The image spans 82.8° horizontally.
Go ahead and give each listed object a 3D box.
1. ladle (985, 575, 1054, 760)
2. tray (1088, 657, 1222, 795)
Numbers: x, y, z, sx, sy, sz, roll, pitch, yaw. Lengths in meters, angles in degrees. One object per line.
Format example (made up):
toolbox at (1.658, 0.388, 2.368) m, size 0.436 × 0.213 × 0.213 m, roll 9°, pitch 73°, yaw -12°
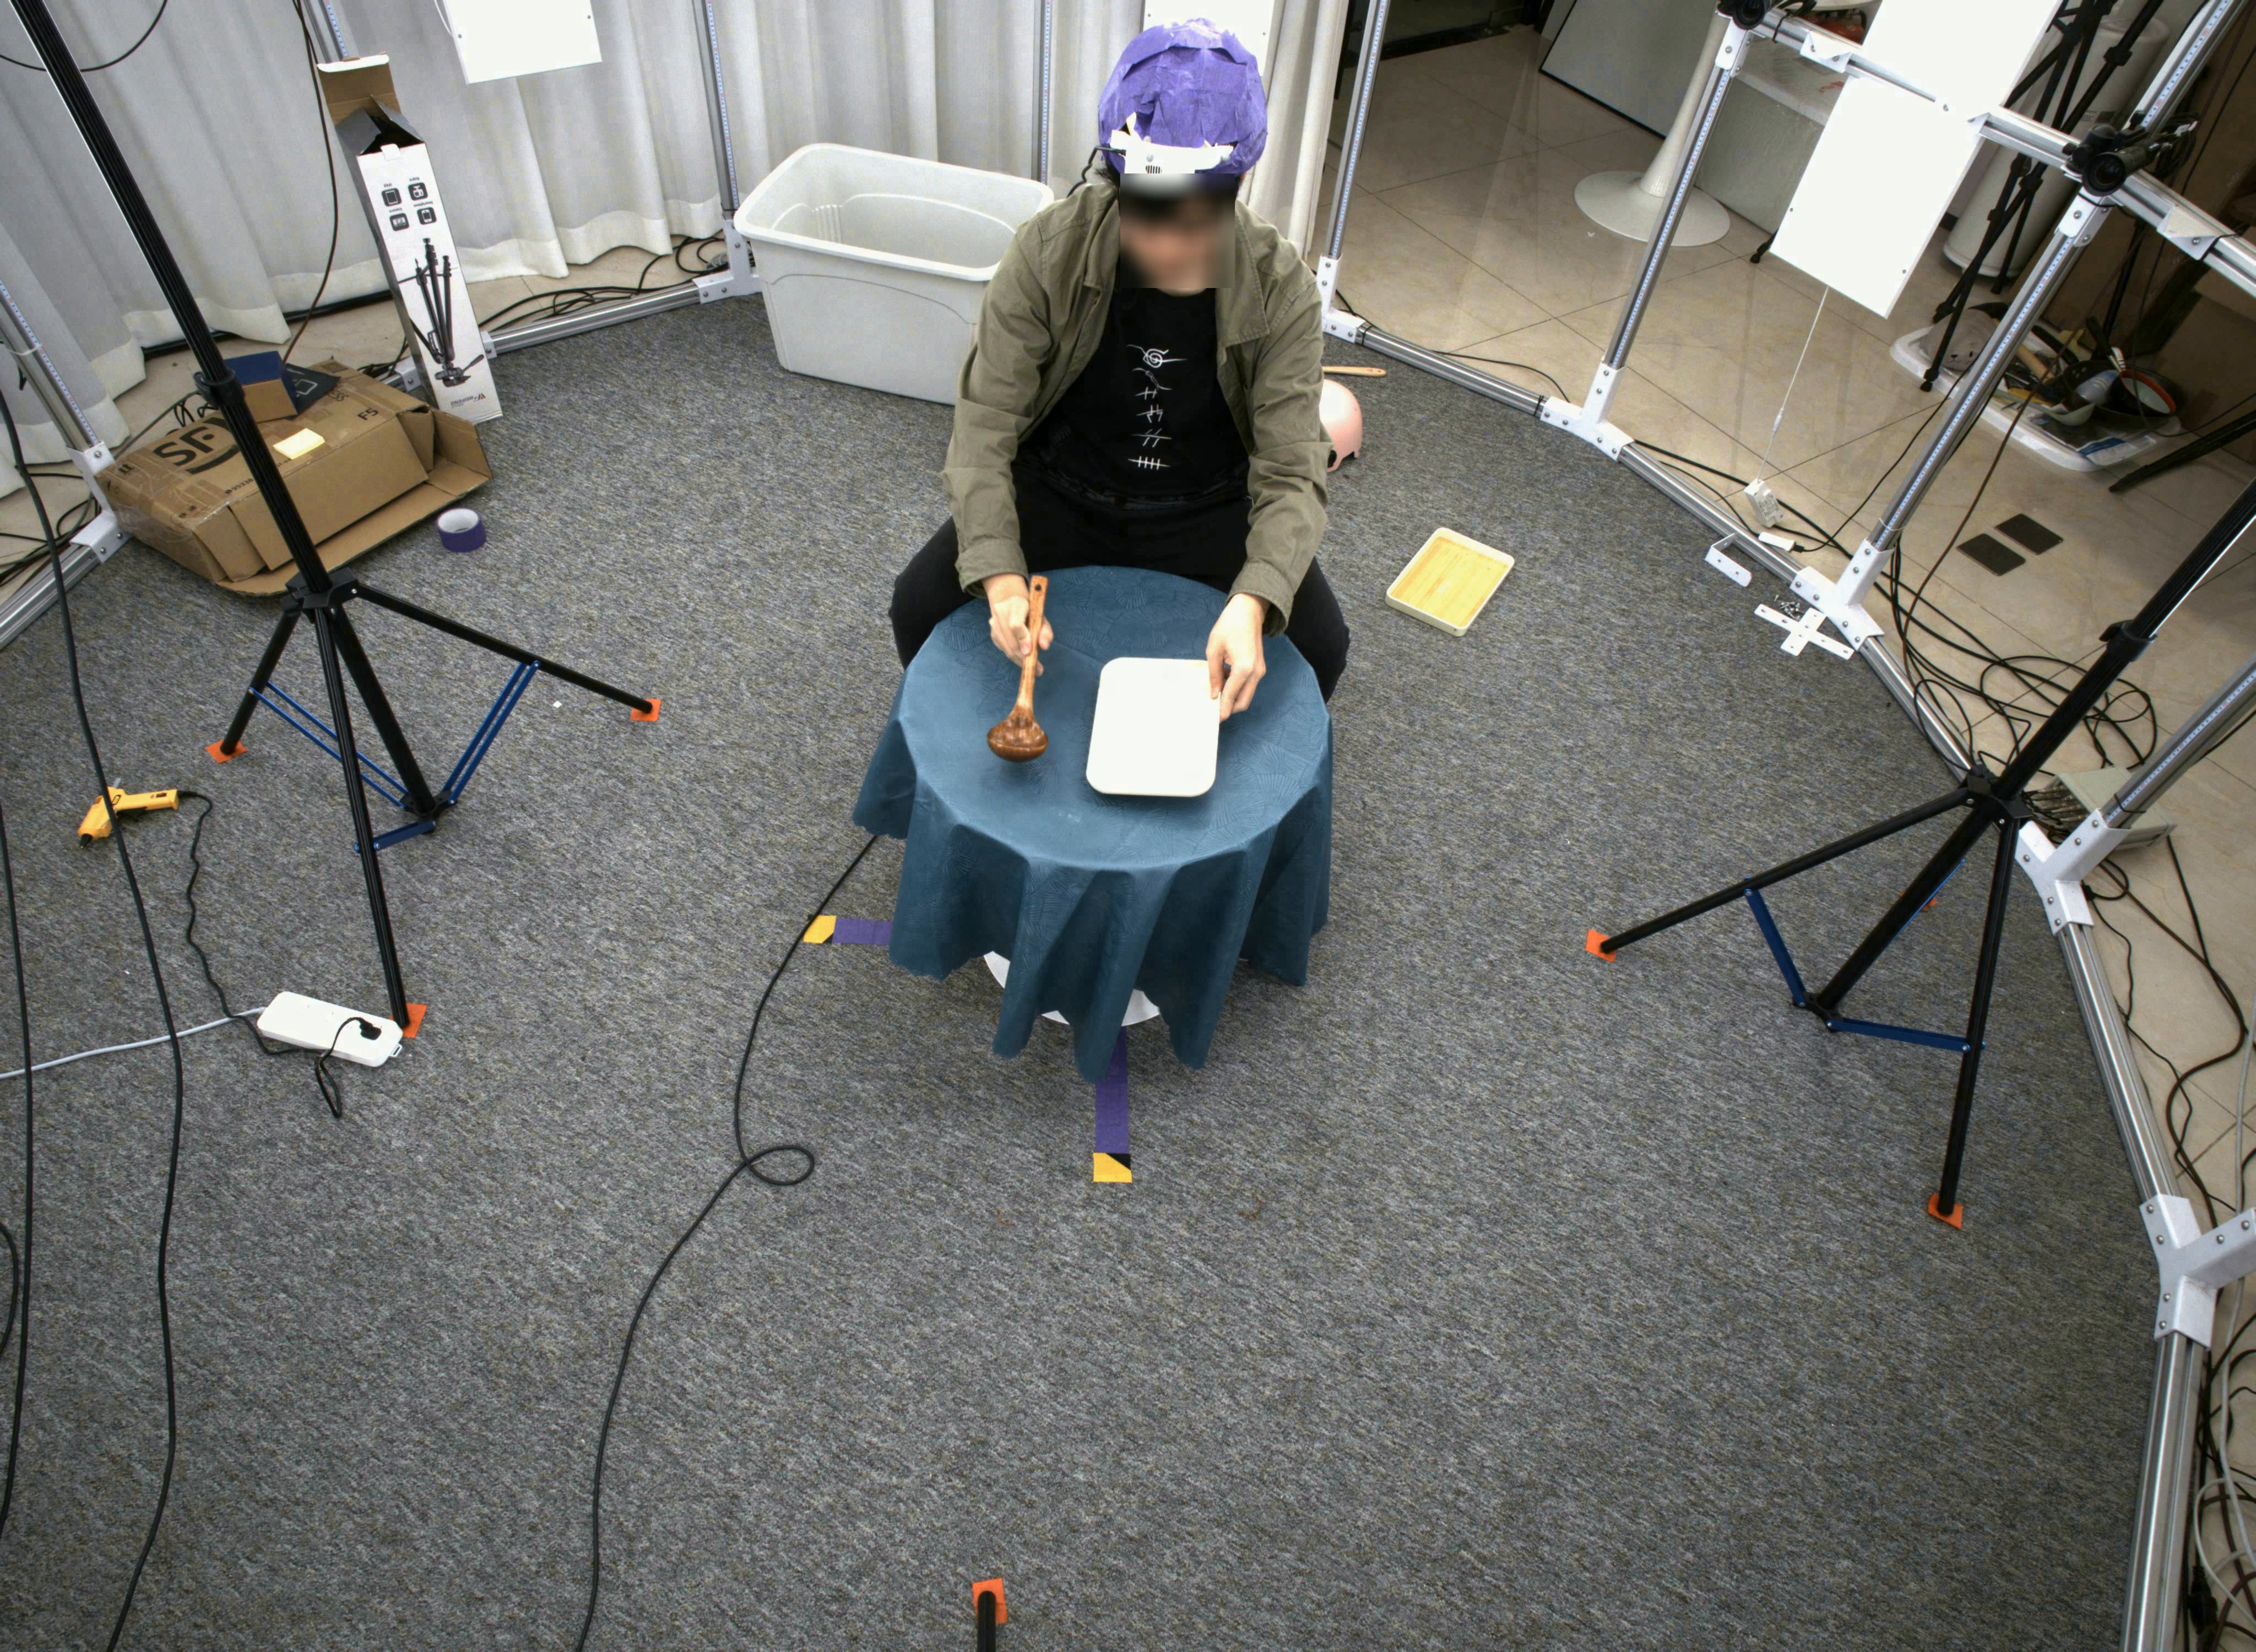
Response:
ladle at (-0.131, -0.216, 1.697) m, size 0.082 × 0.076 × 0.277 m, roll 10°, pitch 76°, yaw -6°
tray at (0.039, -0.137, 1.732) m, size 0.171 × 0.017 × 0.245 m, roll 3°, pitch 52°, yaw 5°
